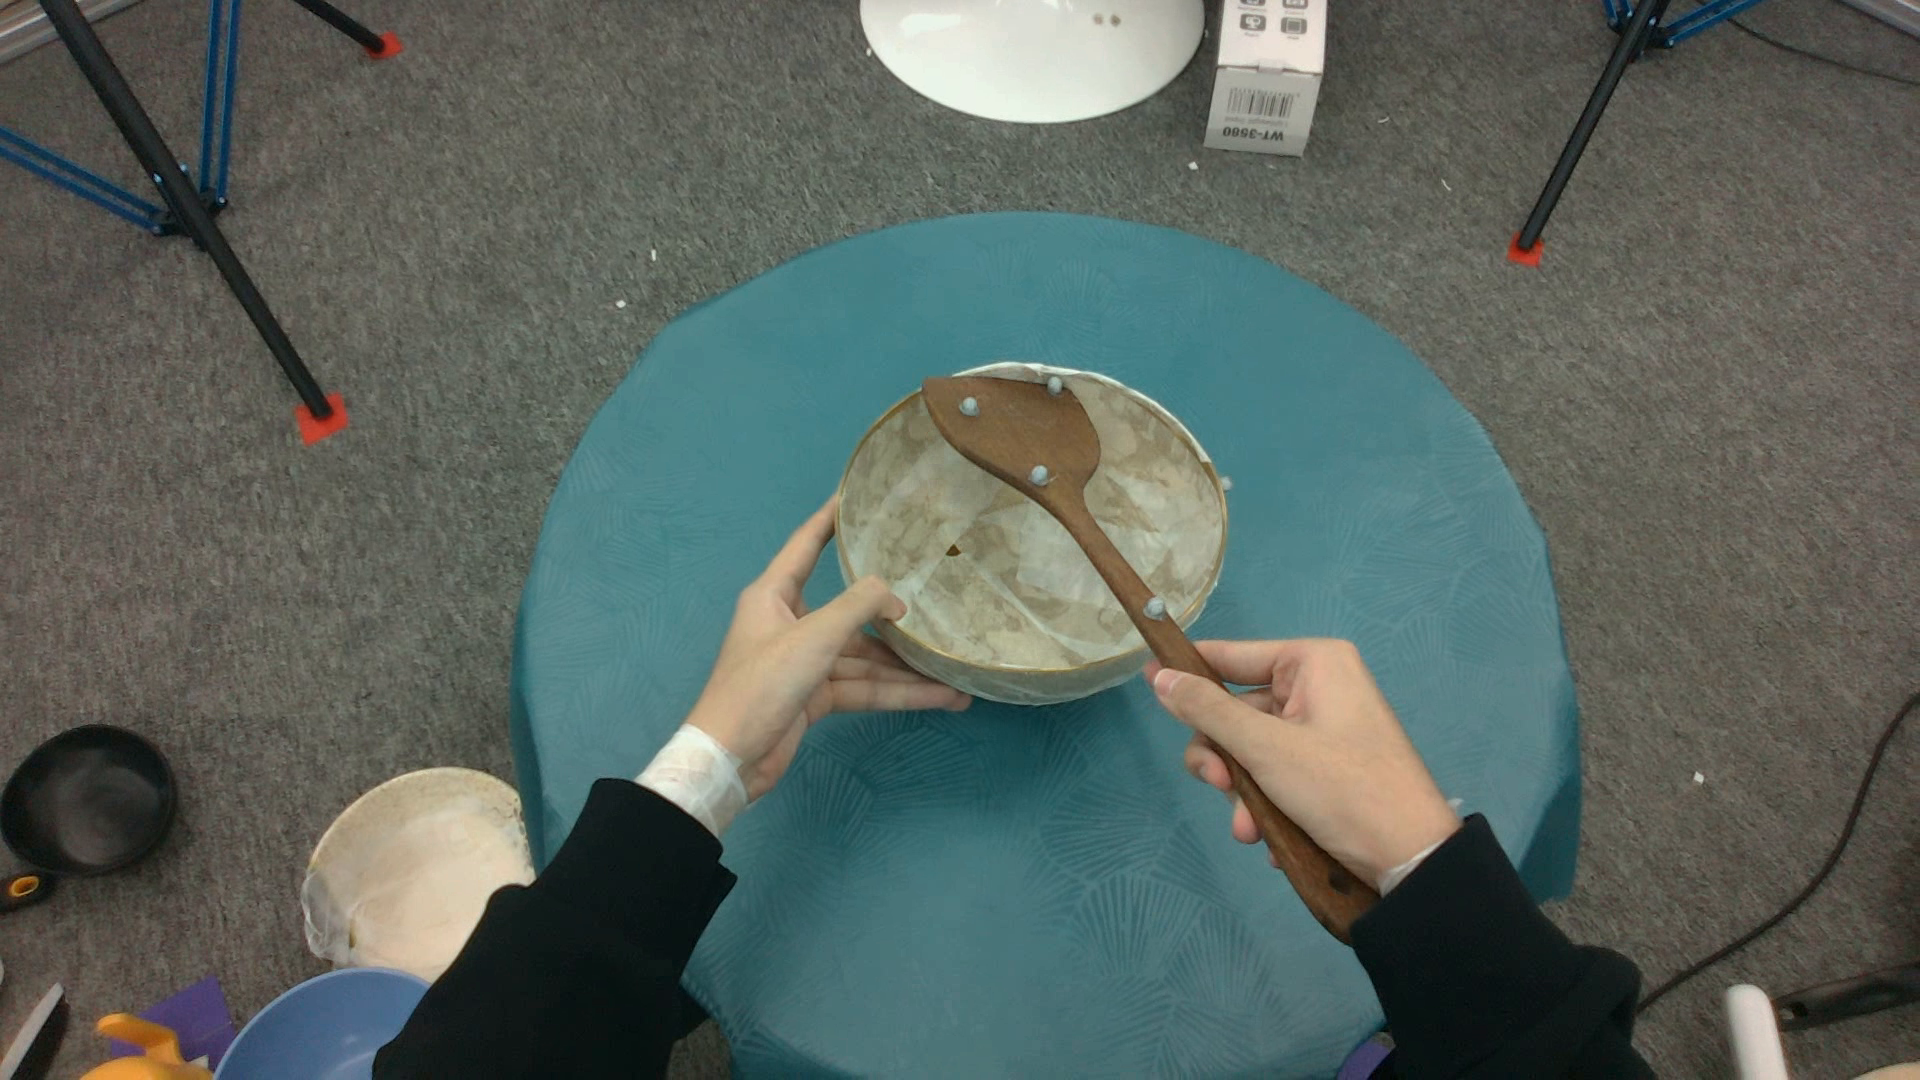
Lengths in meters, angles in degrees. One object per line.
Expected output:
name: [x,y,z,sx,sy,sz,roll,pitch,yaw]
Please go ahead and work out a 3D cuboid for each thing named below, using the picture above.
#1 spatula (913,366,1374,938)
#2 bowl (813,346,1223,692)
spatula: [0.074,0.020,0.615,0.096,0.016,0.387,2,35,-26]
bowl: [0.026,0.003,0.730,0.215,0.094,0.215,2,54,-2]
